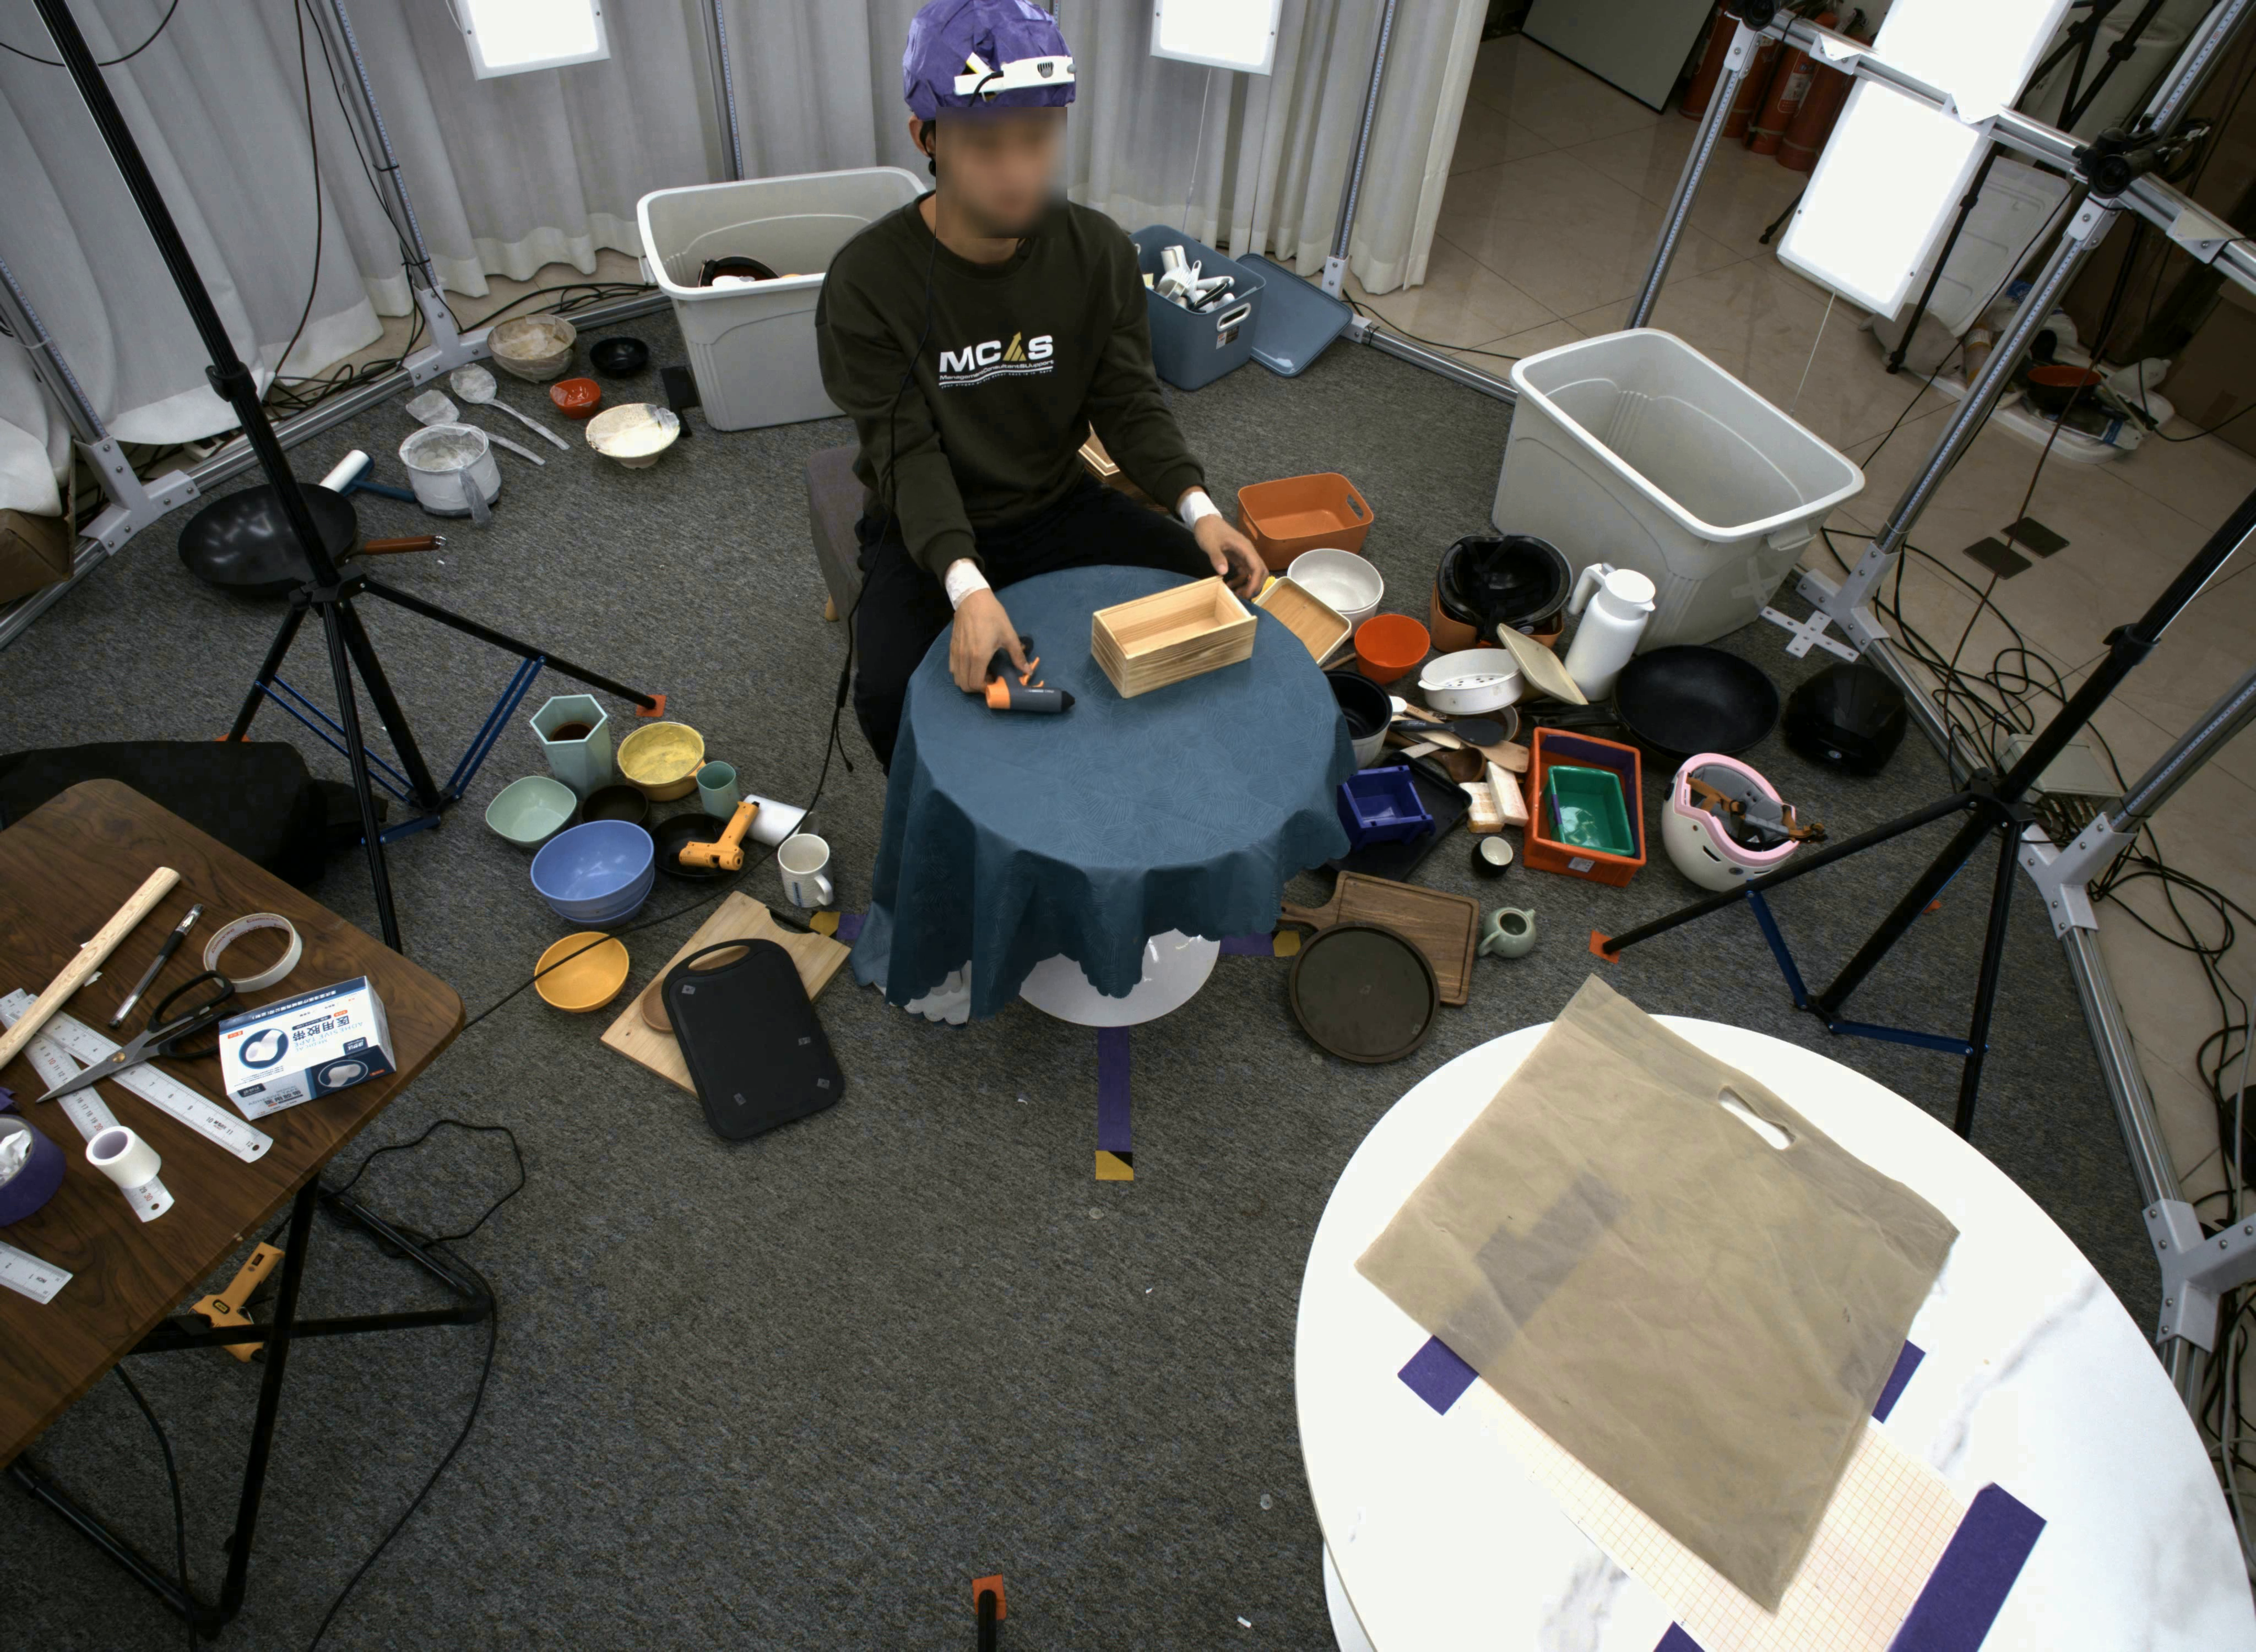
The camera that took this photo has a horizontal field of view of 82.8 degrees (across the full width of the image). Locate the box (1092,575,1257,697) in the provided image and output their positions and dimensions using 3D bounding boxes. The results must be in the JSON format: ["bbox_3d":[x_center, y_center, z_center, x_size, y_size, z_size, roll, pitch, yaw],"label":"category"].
[{"bbox_3d":[0.065,-0.276,1.853,0.212,0.078,0.110,-20,52,-20],"label":"box"}]

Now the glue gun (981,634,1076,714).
[{"bbox_3d":[-0.147,-0.209,1.810,0.118,0.040,0.143,-8,51,-20],"label":"glue gun"}]
